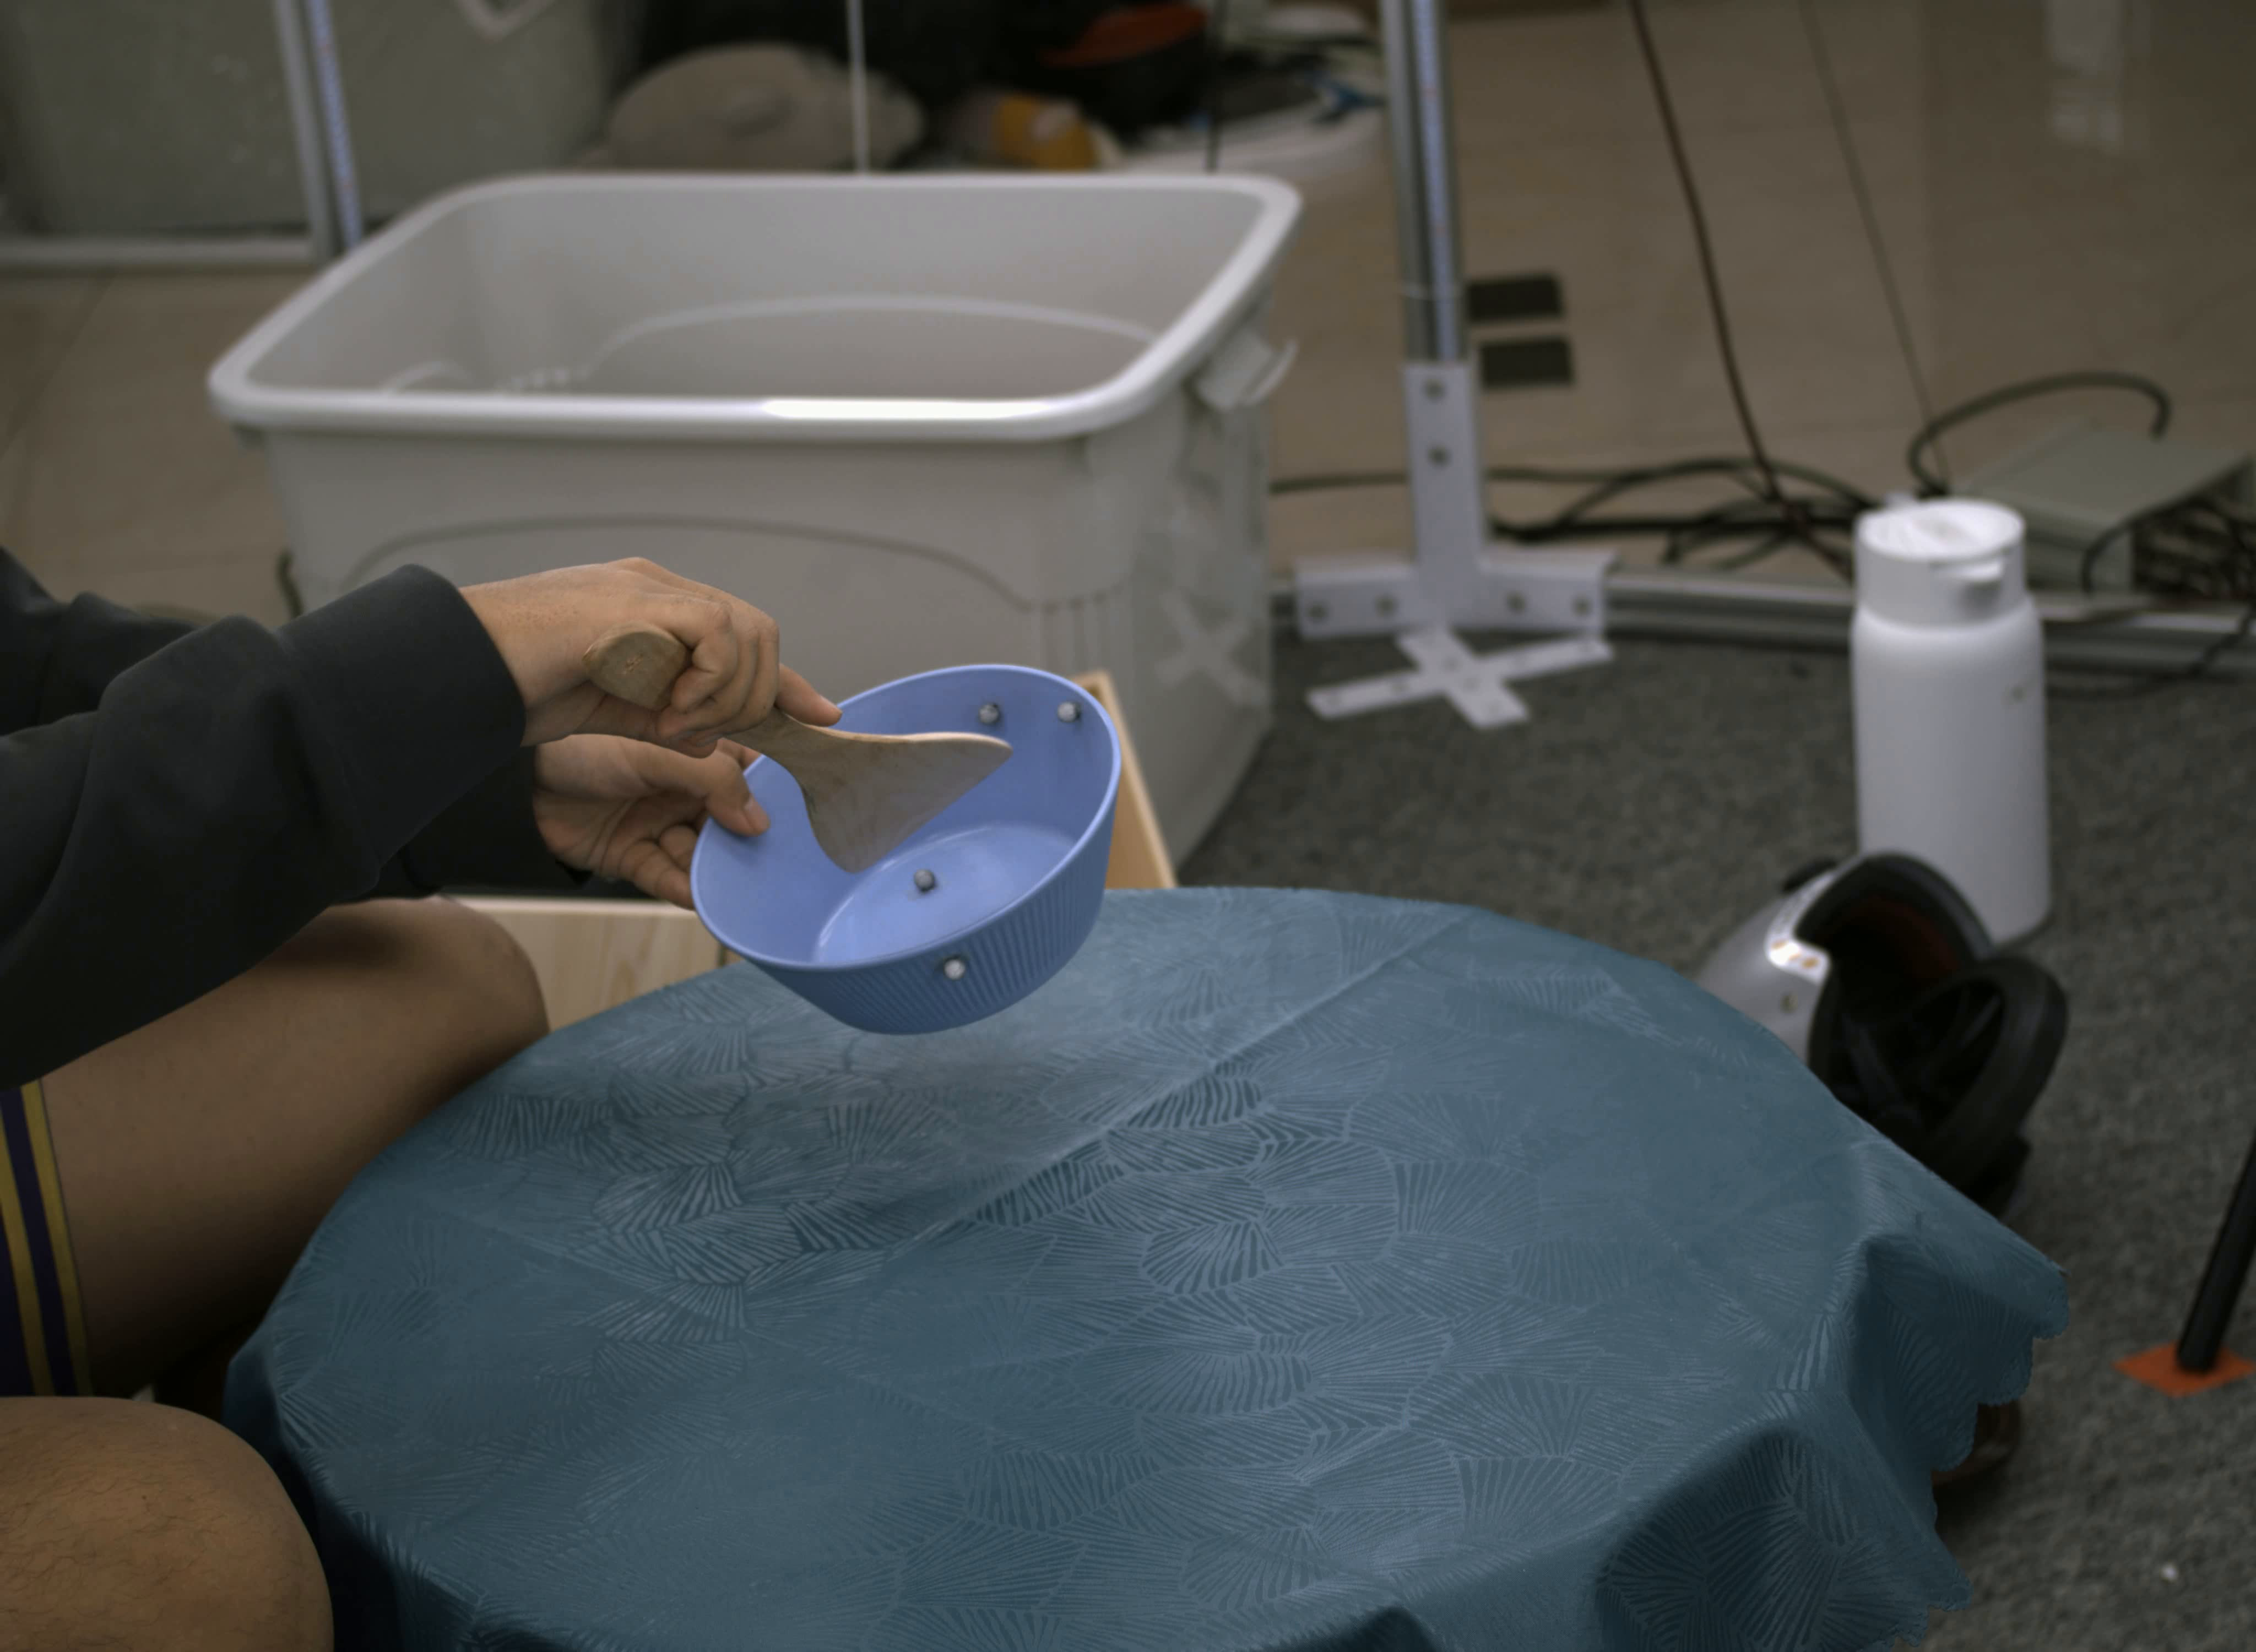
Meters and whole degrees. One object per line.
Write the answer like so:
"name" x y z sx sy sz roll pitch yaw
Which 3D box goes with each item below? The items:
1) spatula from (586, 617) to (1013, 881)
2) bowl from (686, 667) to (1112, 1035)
"spatula" -0.122 -0.032 2.030 0.080 0.330 0.016 -40 68 8
"bowl" -0.079 0.019 2.193 0.176 0.071 0.173 -15 38 12
